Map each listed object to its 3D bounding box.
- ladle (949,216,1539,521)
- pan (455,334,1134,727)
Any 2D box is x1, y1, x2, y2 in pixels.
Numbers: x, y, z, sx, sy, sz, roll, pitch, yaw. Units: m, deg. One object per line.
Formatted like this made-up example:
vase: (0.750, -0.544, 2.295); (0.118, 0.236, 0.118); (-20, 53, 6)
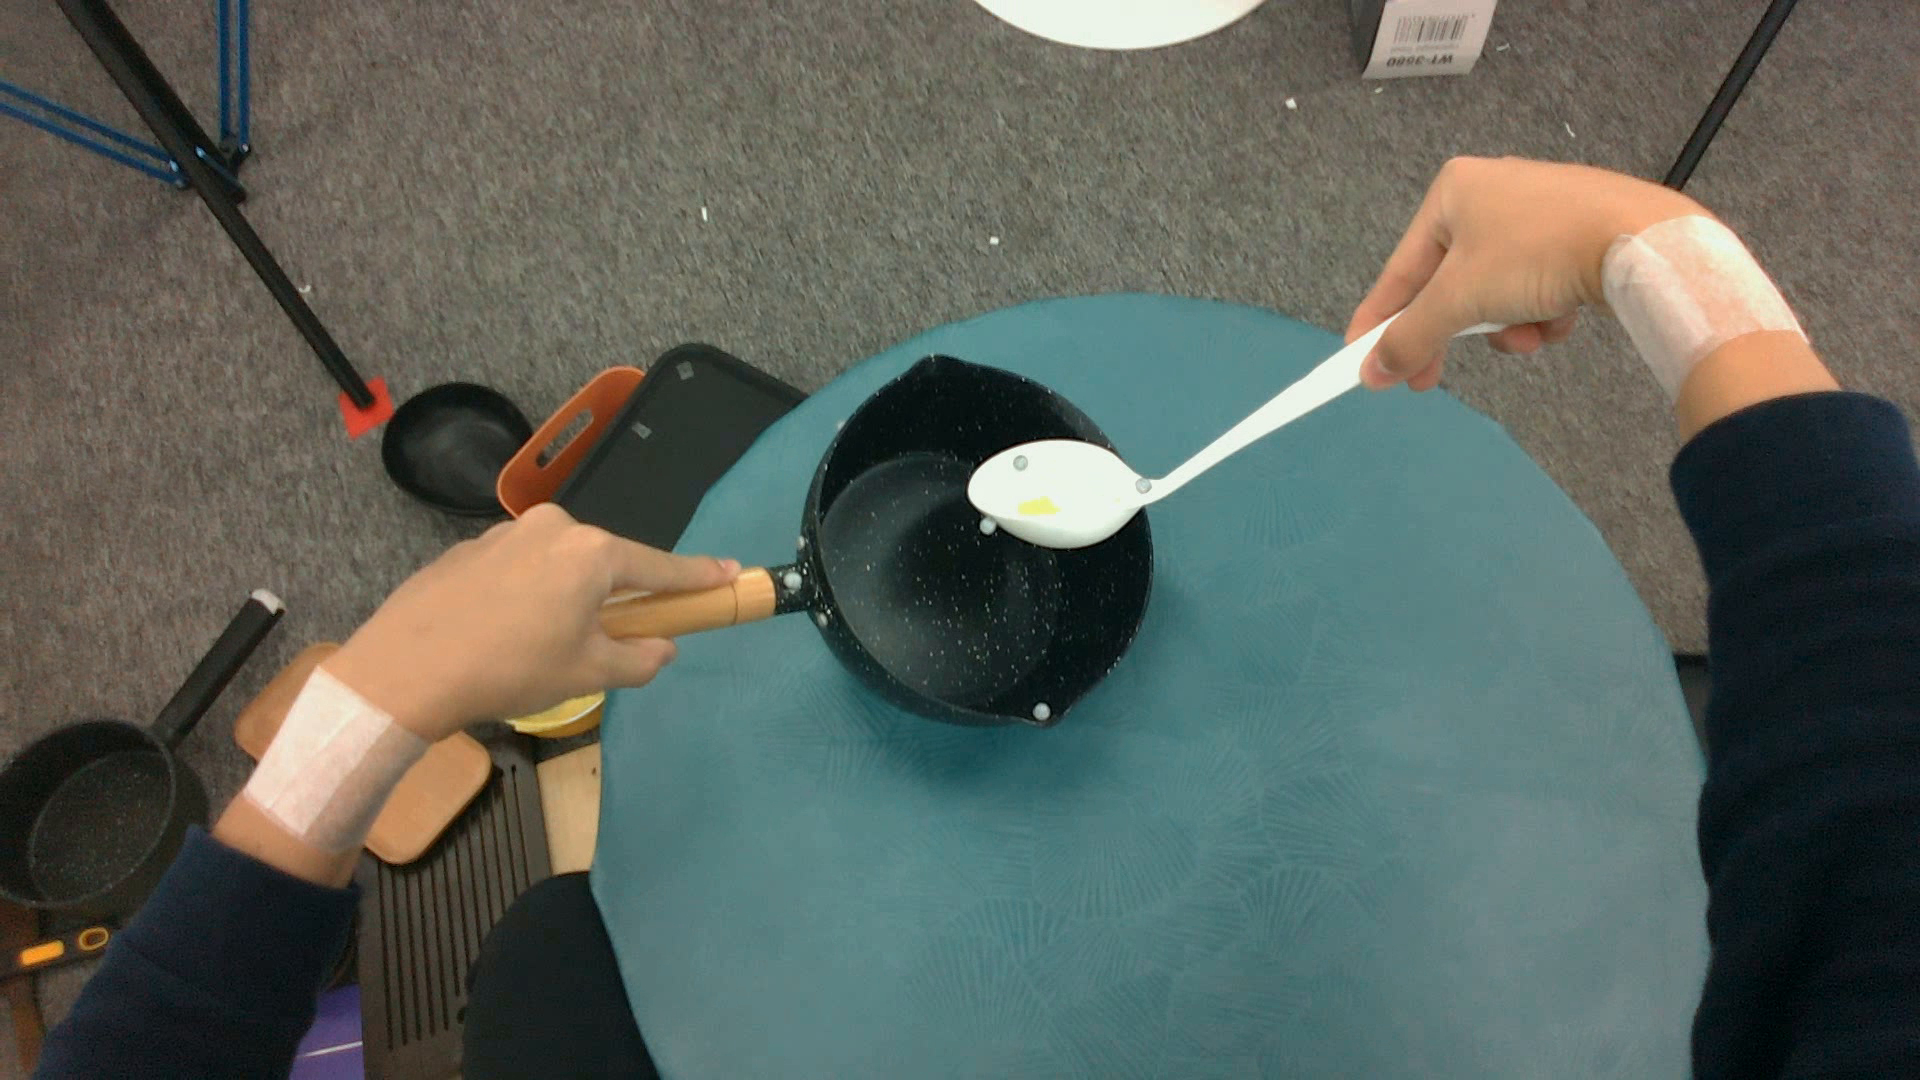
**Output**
ladle: (0.120, -0.082, 0.653); (0.090, 0.291, 0.070); (-32, 92, -51)
pan: (-0.075, 0.016, 0.682); (0.344, 0.108, 0.207); (-14, 79, -28)
